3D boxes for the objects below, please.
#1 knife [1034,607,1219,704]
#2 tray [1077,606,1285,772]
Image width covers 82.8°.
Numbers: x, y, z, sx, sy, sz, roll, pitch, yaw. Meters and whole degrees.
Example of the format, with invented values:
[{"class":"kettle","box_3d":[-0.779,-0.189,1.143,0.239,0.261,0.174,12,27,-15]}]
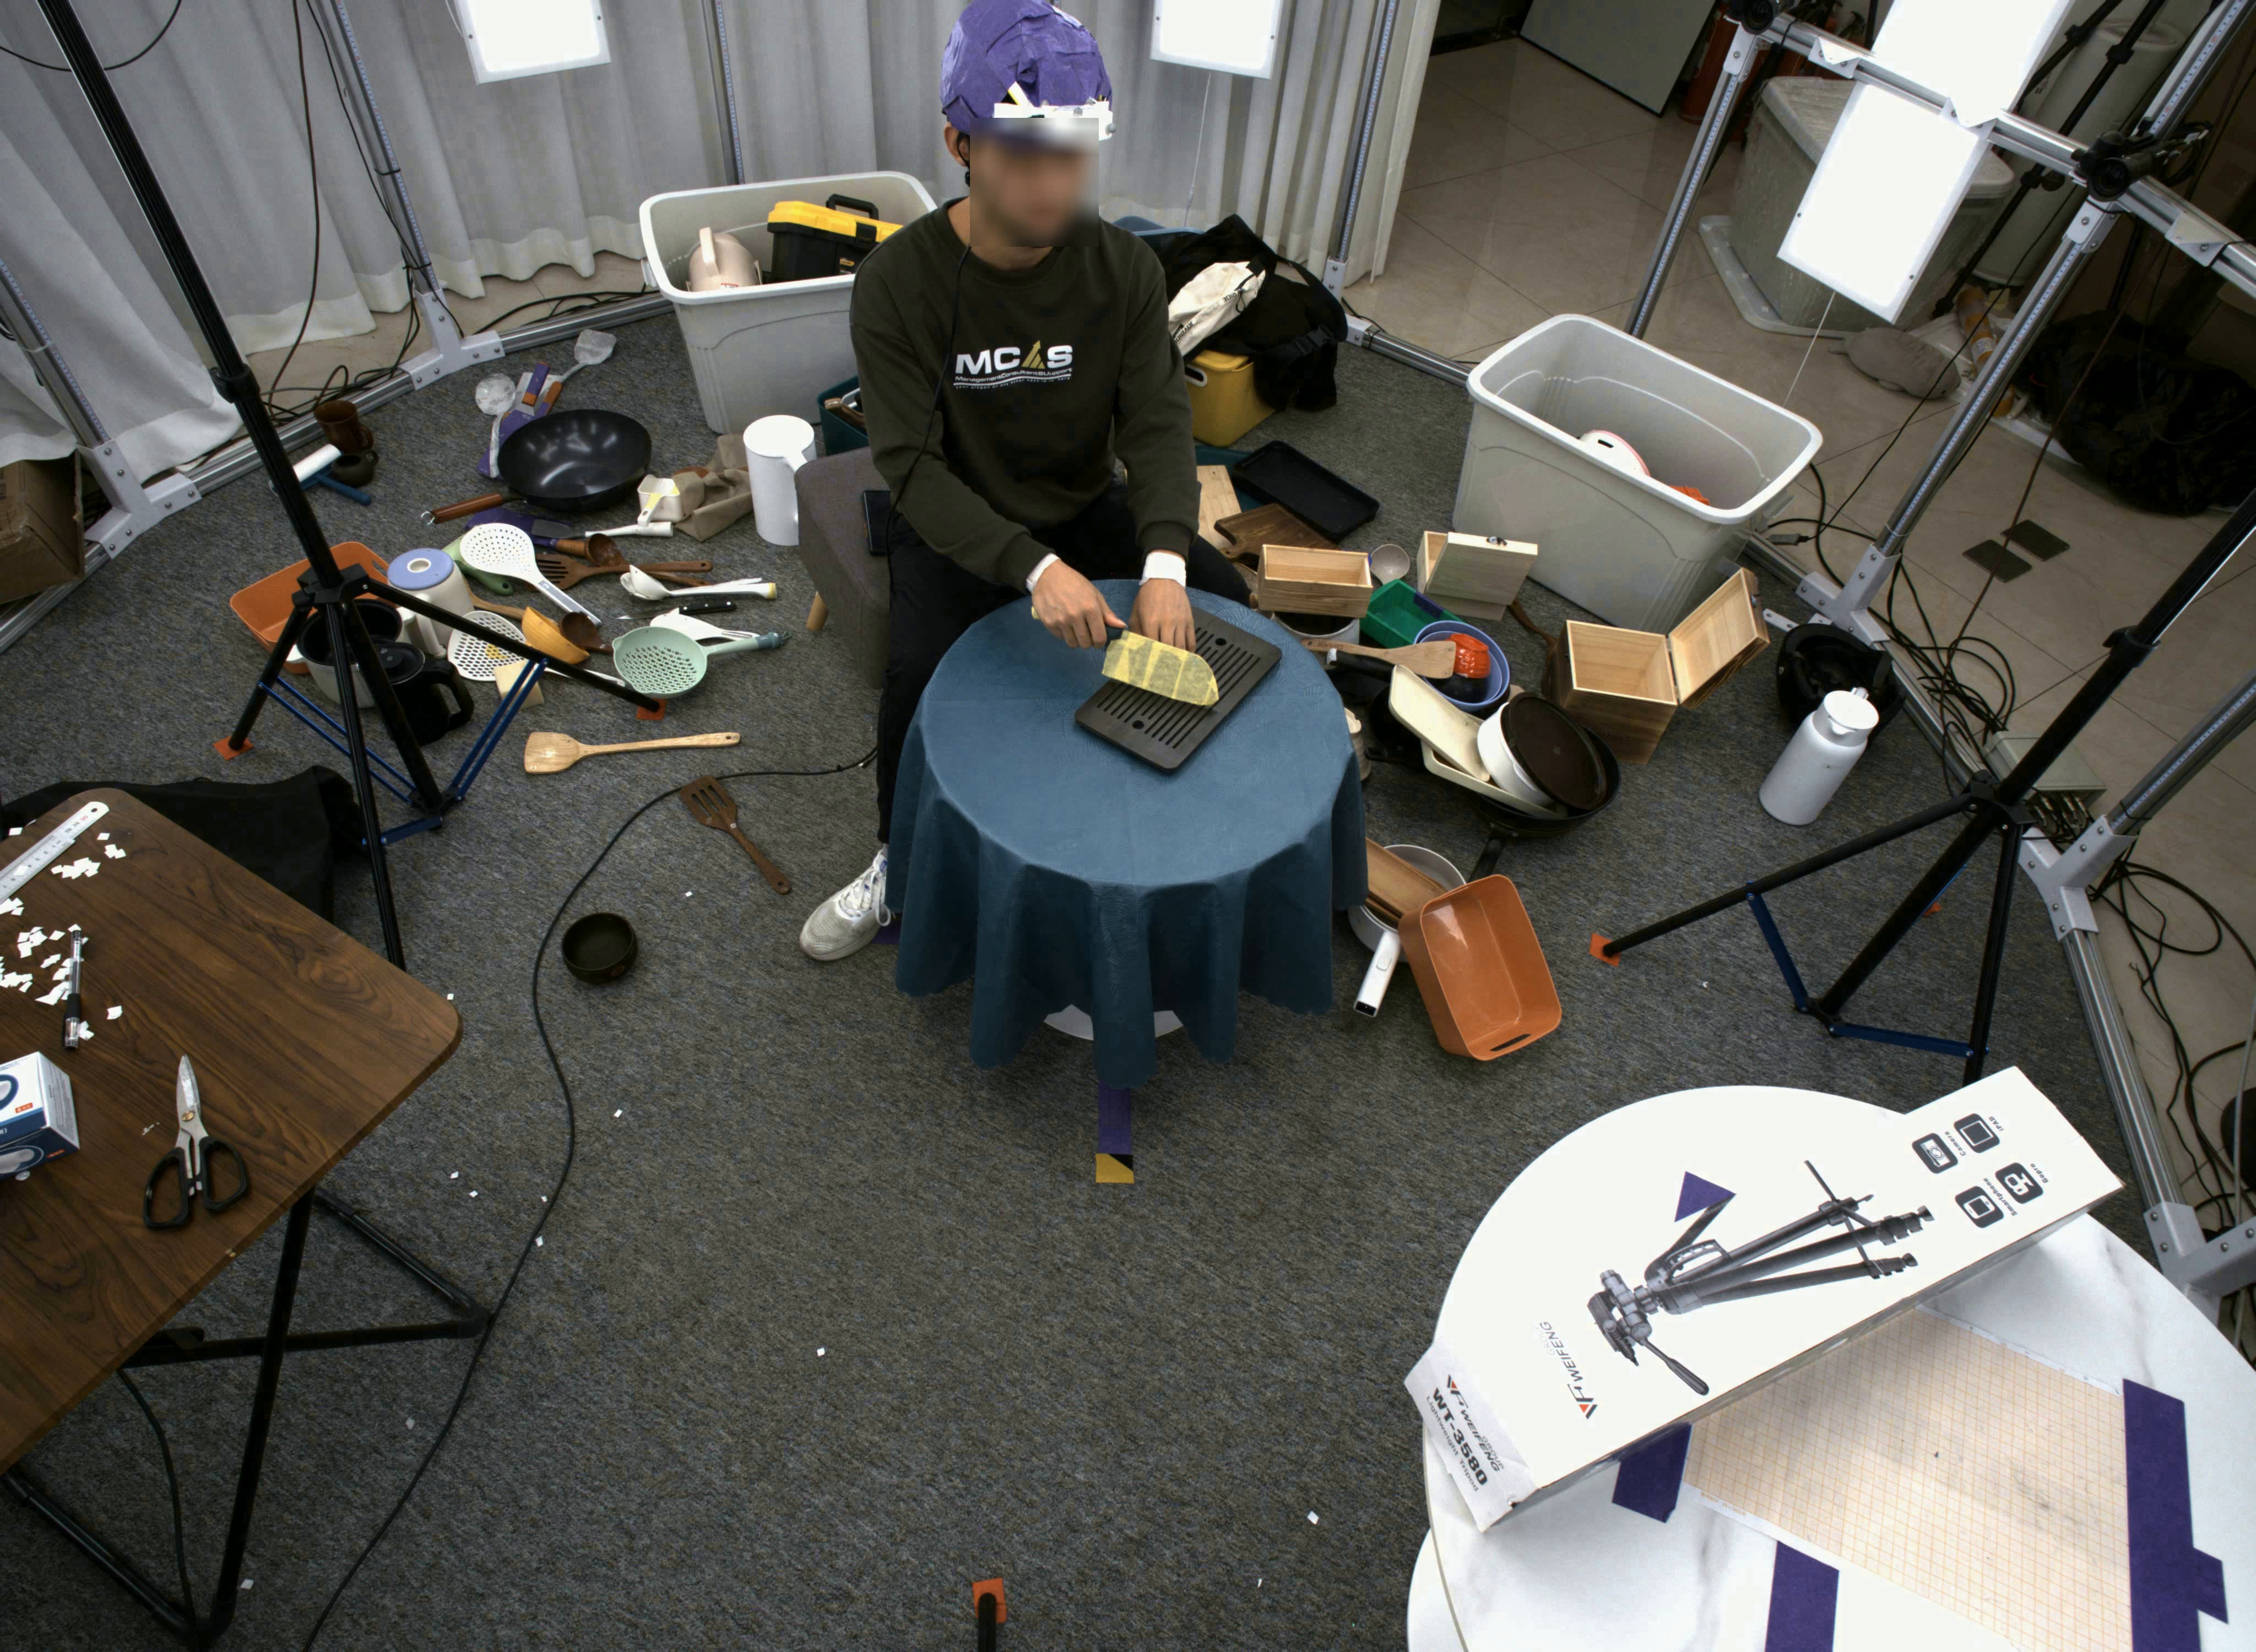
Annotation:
[{"class":"knife","box_3d":[-0.004,-0.242,1.808,0.291,0.080,0.027,23,20,11]},{"class":"tray","box_3d":[0.079,-0.199,1.833,0.172,0.018,0.310,29,53,21]}]
